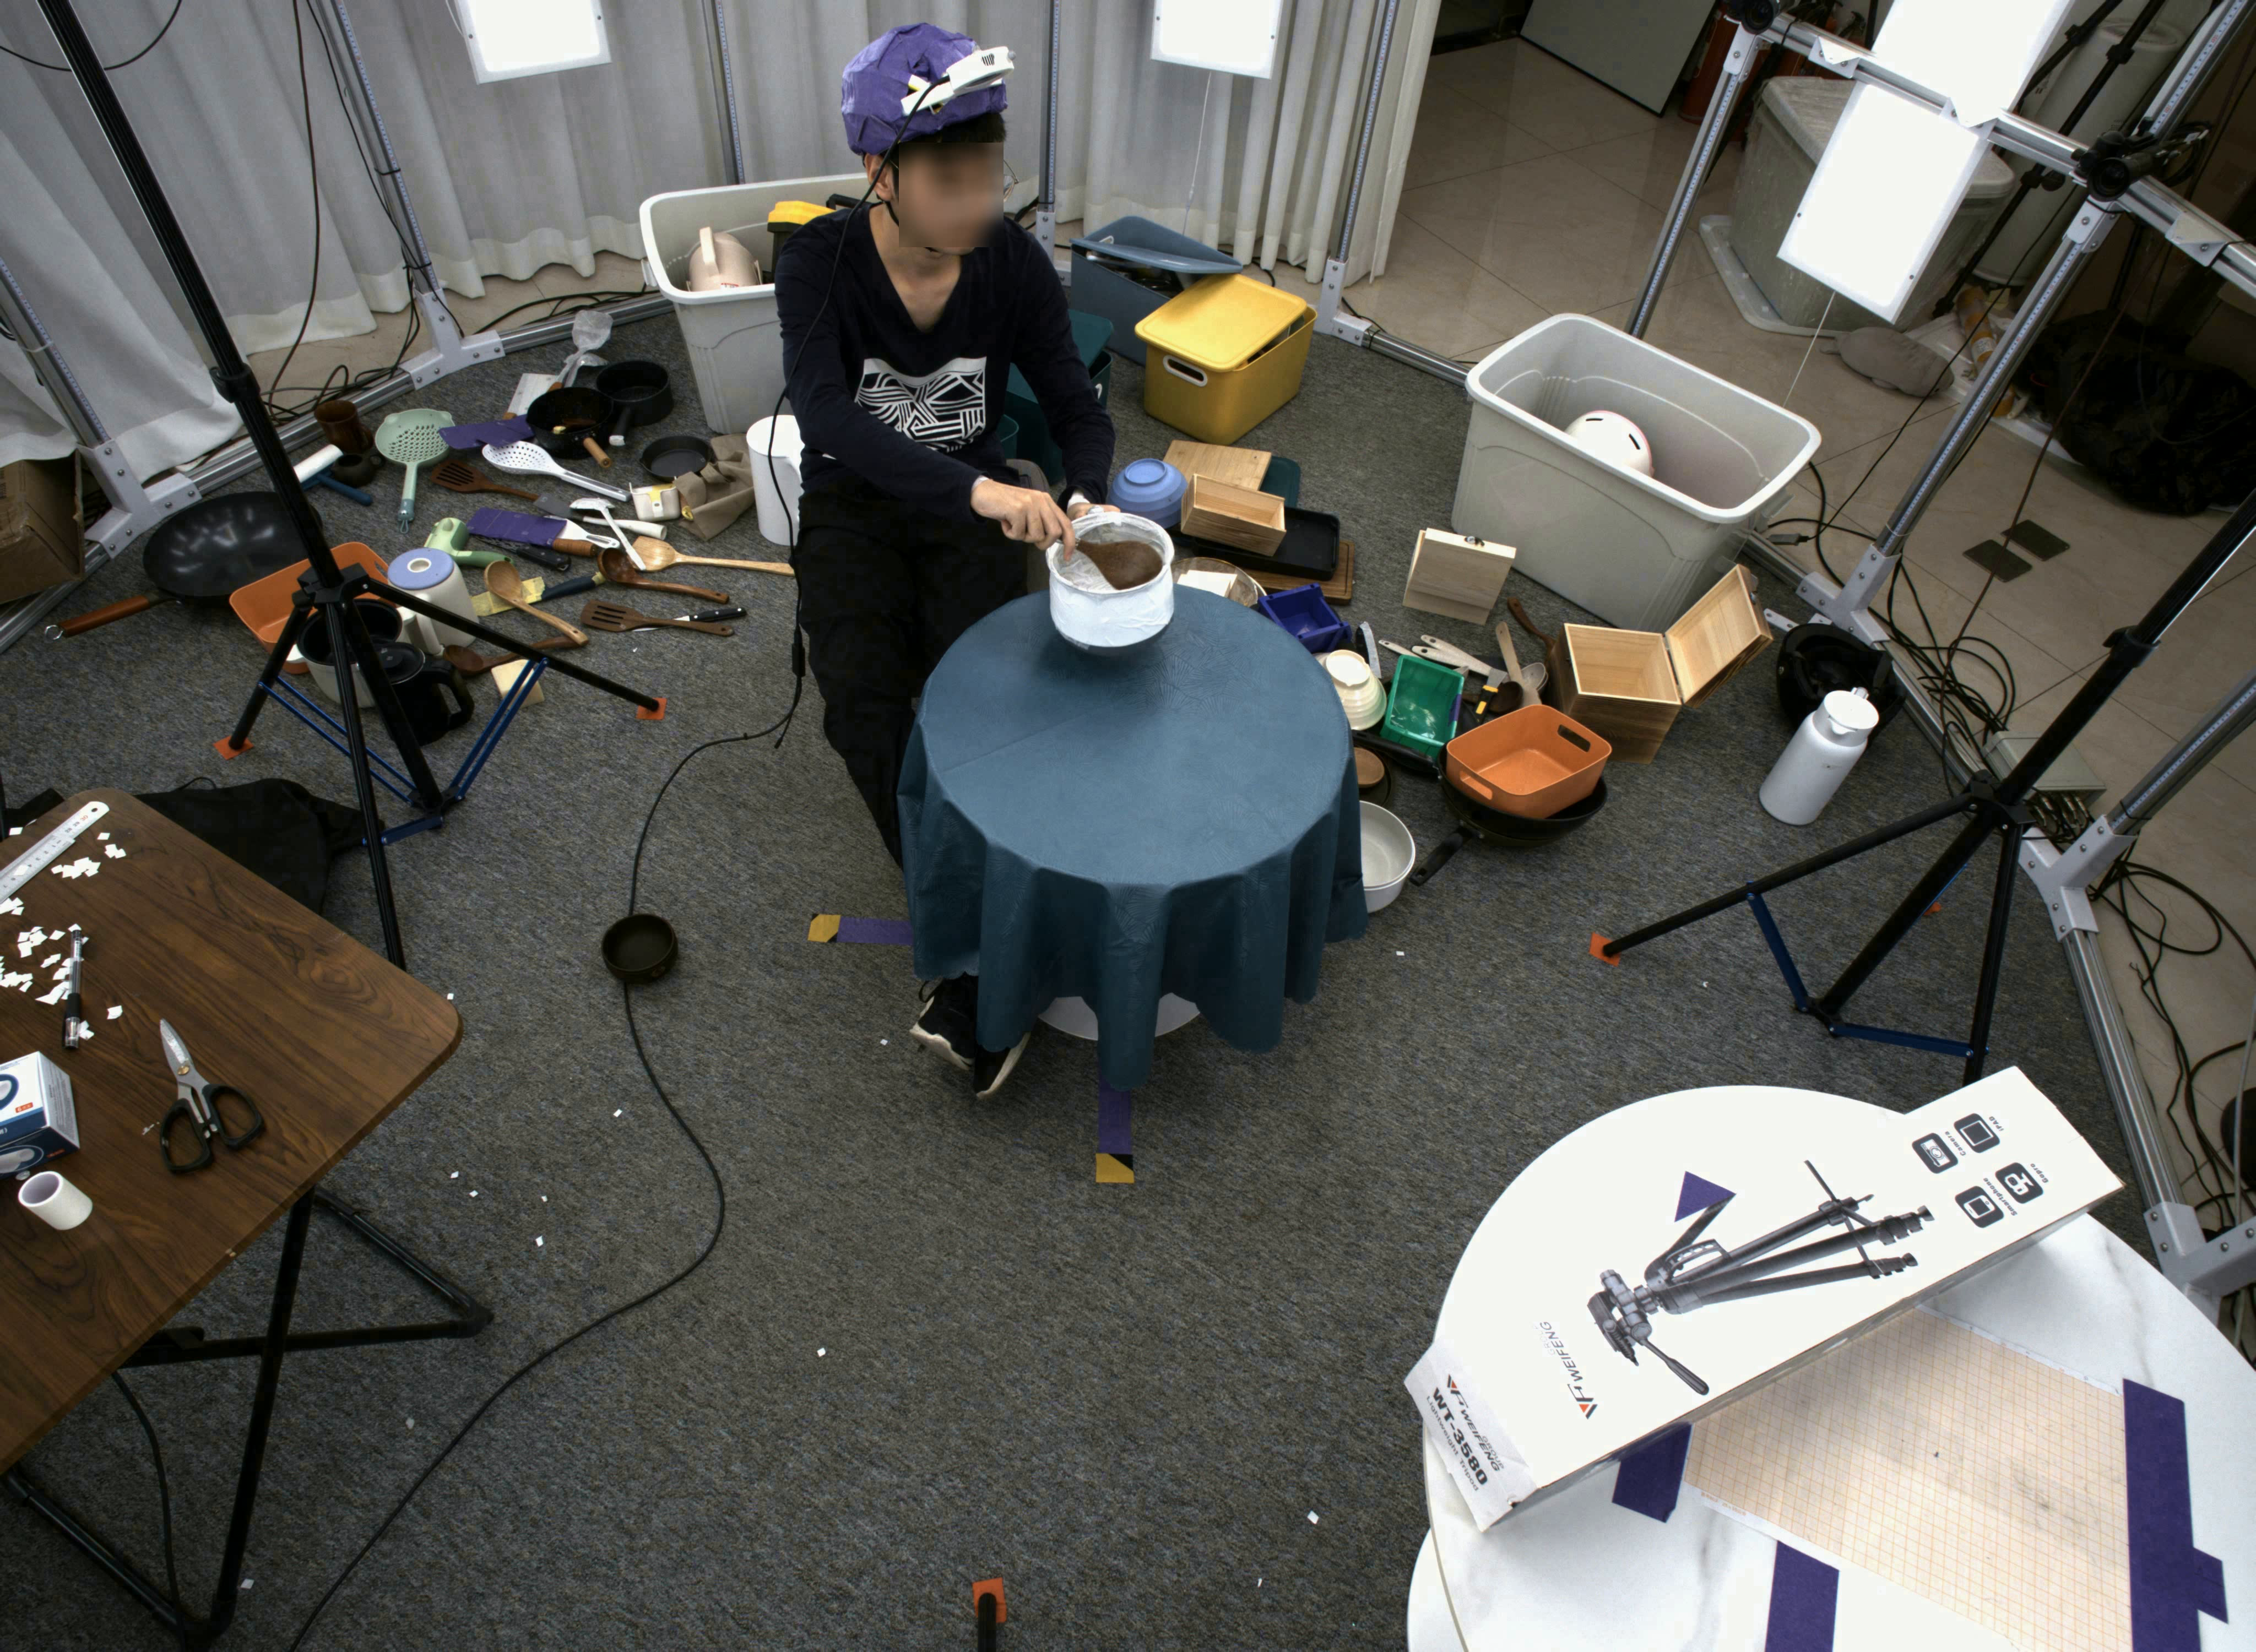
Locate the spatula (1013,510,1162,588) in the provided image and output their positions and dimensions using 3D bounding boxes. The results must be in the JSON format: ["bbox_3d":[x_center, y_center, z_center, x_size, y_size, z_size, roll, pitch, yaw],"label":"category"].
[{"bbox_3d":[-0.052,-0.375,1.726,0.214,0.071,0.009,20,5,-15],"label":"spatula"}]

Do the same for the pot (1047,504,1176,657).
[{"bbox_3d":[-0.029,-0.358,1.832,0.178,0.133,0.239,-9,50,-9],"label":"pot"}]
